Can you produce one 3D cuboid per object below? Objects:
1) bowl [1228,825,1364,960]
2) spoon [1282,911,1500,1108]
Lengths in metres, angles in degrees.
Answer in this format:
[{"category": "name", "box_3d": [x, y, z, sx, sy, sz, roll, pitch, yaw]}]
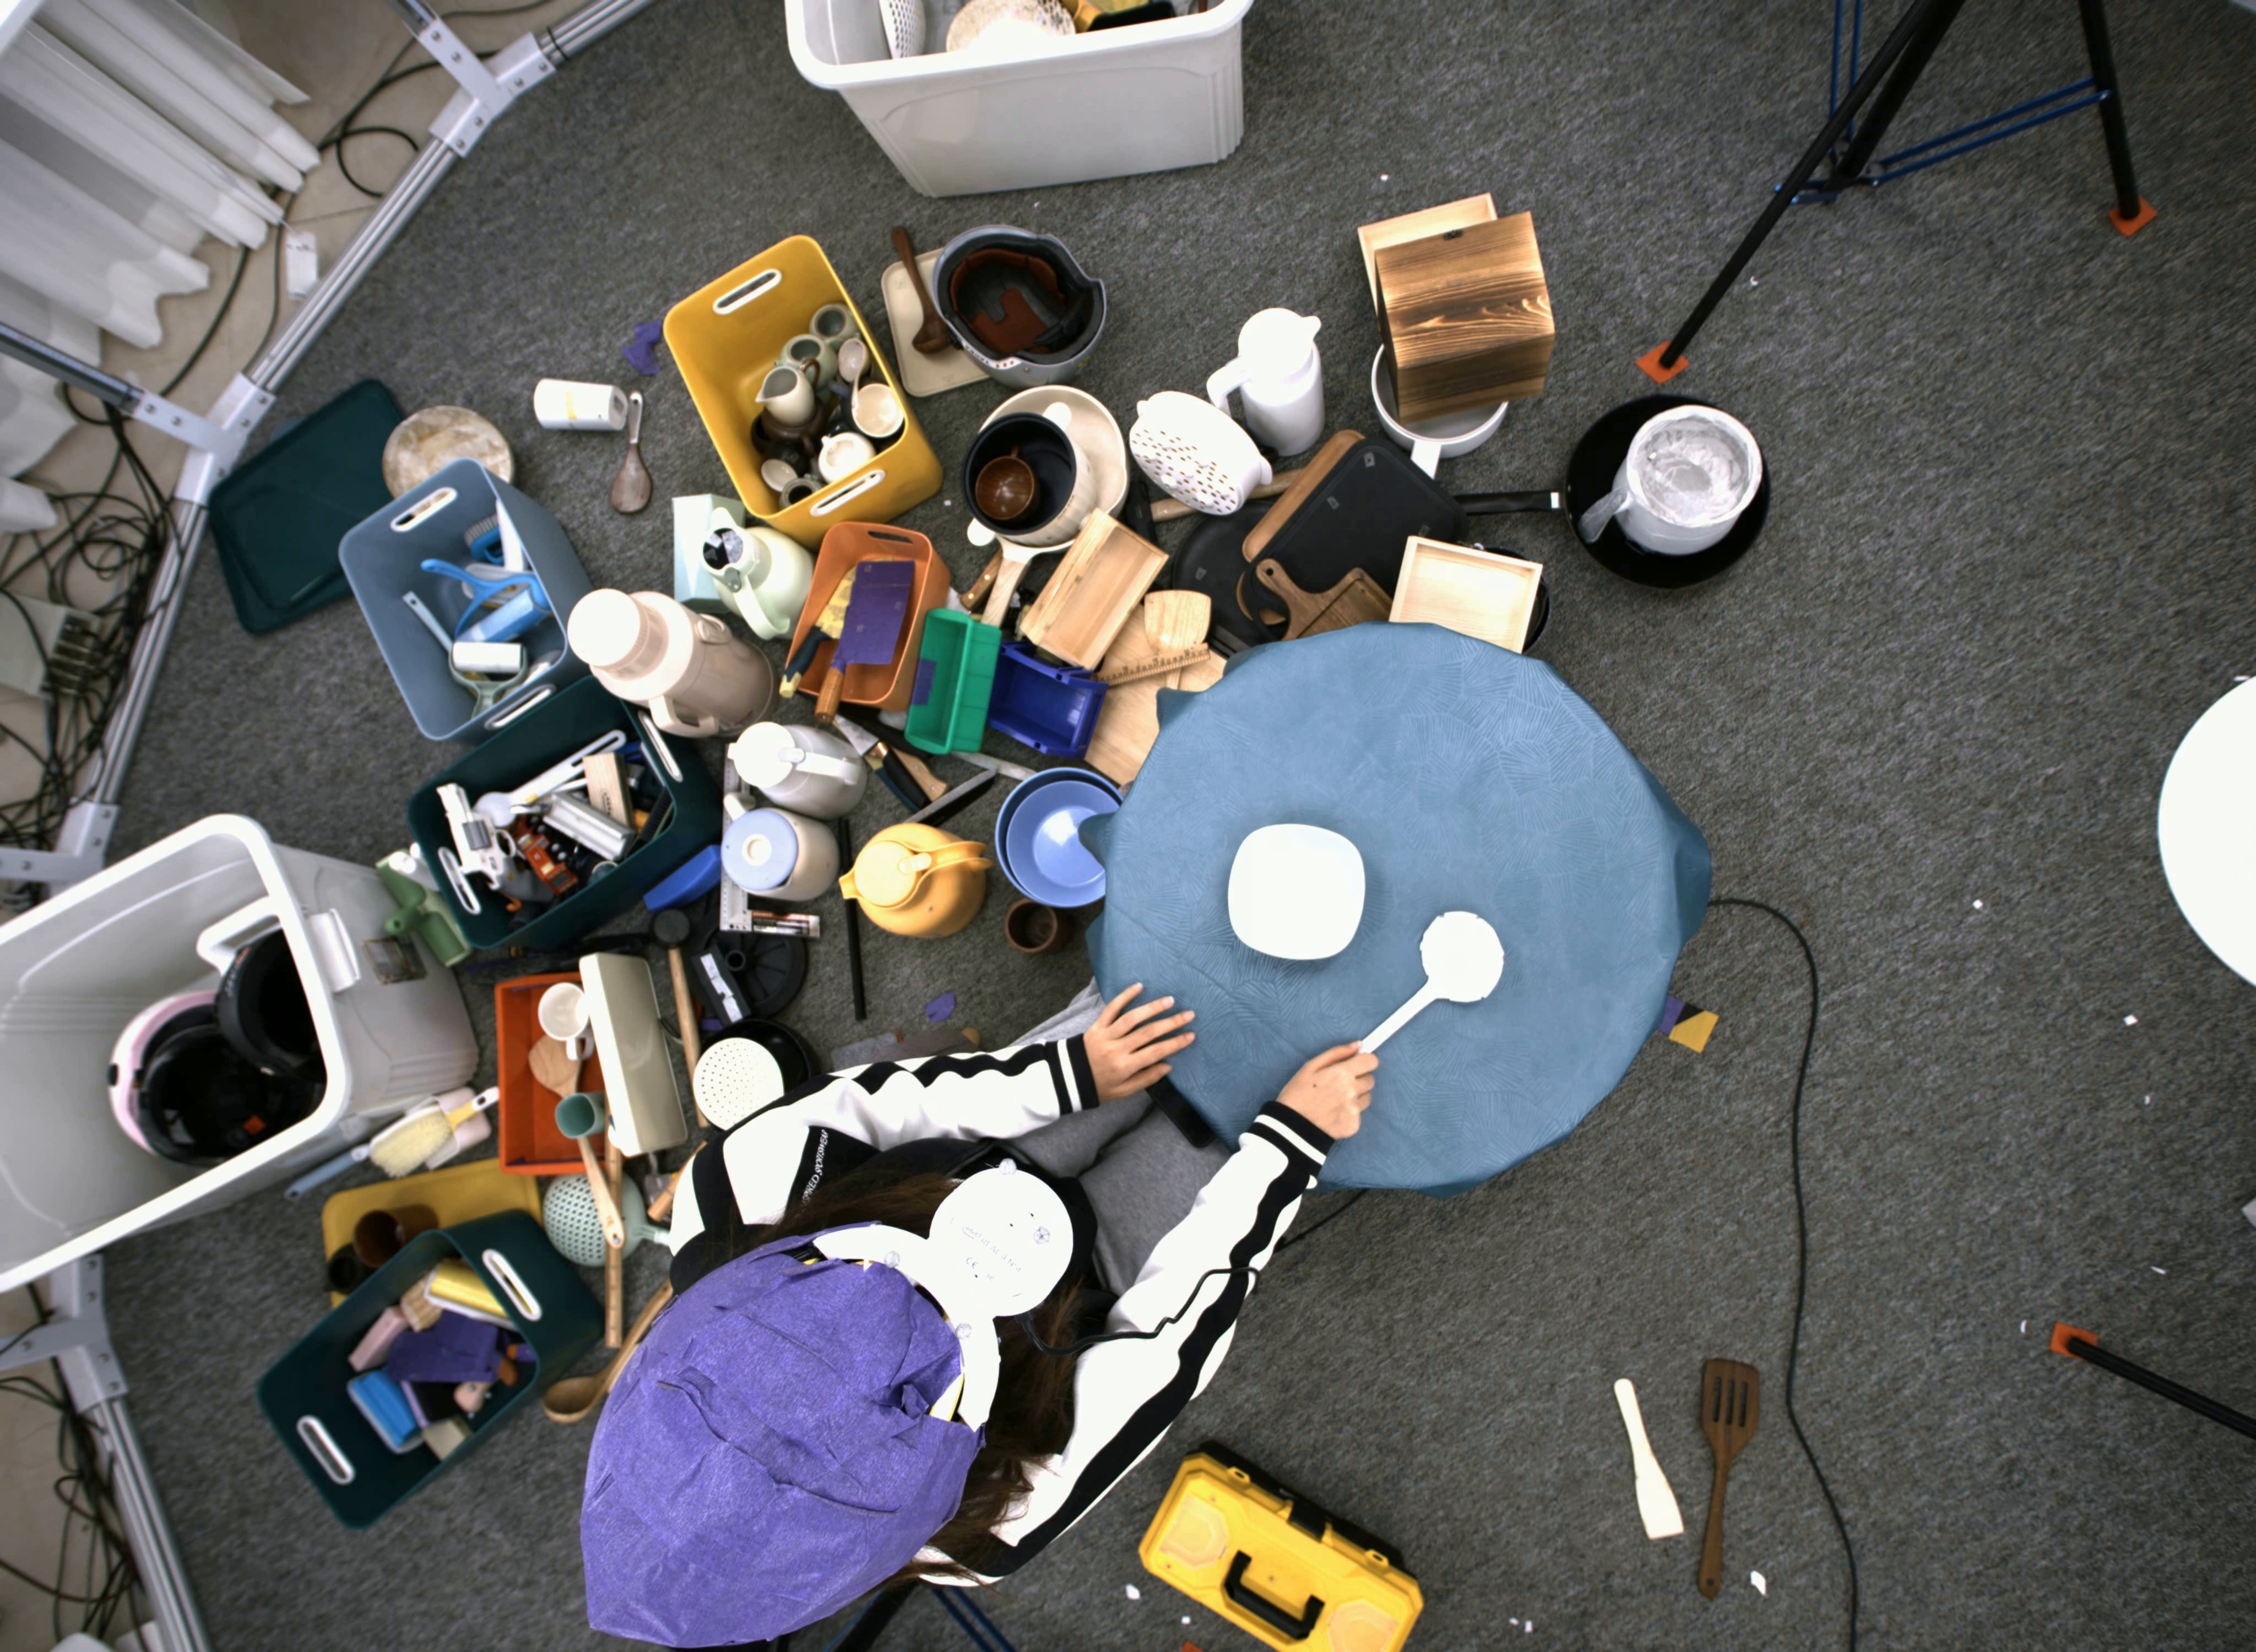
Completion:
[{"category": "bowl", "box_3d": [0.177, 0.070, 1.451, 0.152, 0.058, 0.151, -1, 86, 11]}, {"category": "spoon", "box_3d": [0.261, 0.192, 1.424, 0.278, 0.060, 0.099, -38, 59, 4]}]
